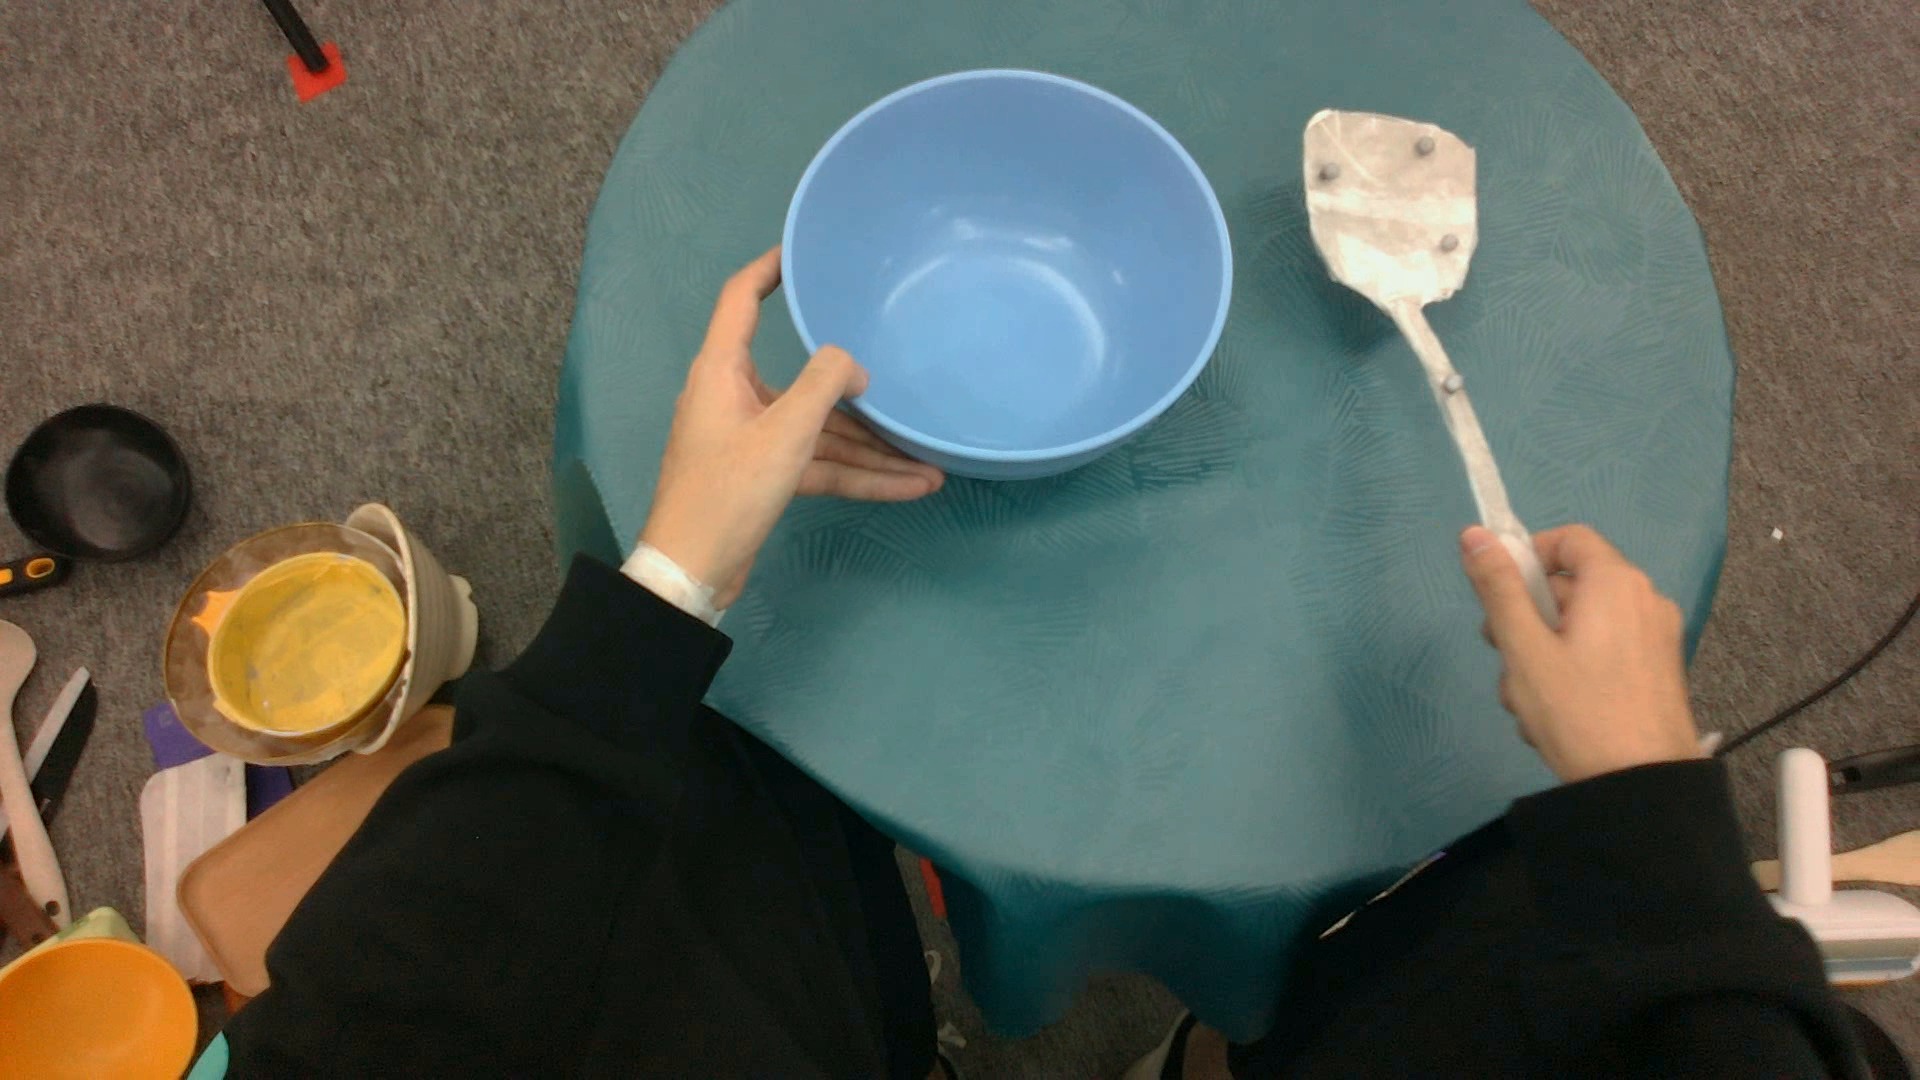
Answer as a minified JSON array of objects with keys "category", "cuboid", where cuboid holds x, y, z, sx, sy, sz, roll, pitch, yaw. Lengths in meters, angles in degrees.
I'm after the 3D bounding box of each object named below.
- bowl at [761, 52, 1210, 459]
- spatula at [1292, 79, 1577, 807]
[{"category":"bowl","cuboid":[0.009,-0.117,0.640,0.196,0.095,0.197,2,68,-4]},{"category":"spatula","cuboid":[0.219,-0.062,0.607,0.099,0.044,0.366,5,56,-18]}]
